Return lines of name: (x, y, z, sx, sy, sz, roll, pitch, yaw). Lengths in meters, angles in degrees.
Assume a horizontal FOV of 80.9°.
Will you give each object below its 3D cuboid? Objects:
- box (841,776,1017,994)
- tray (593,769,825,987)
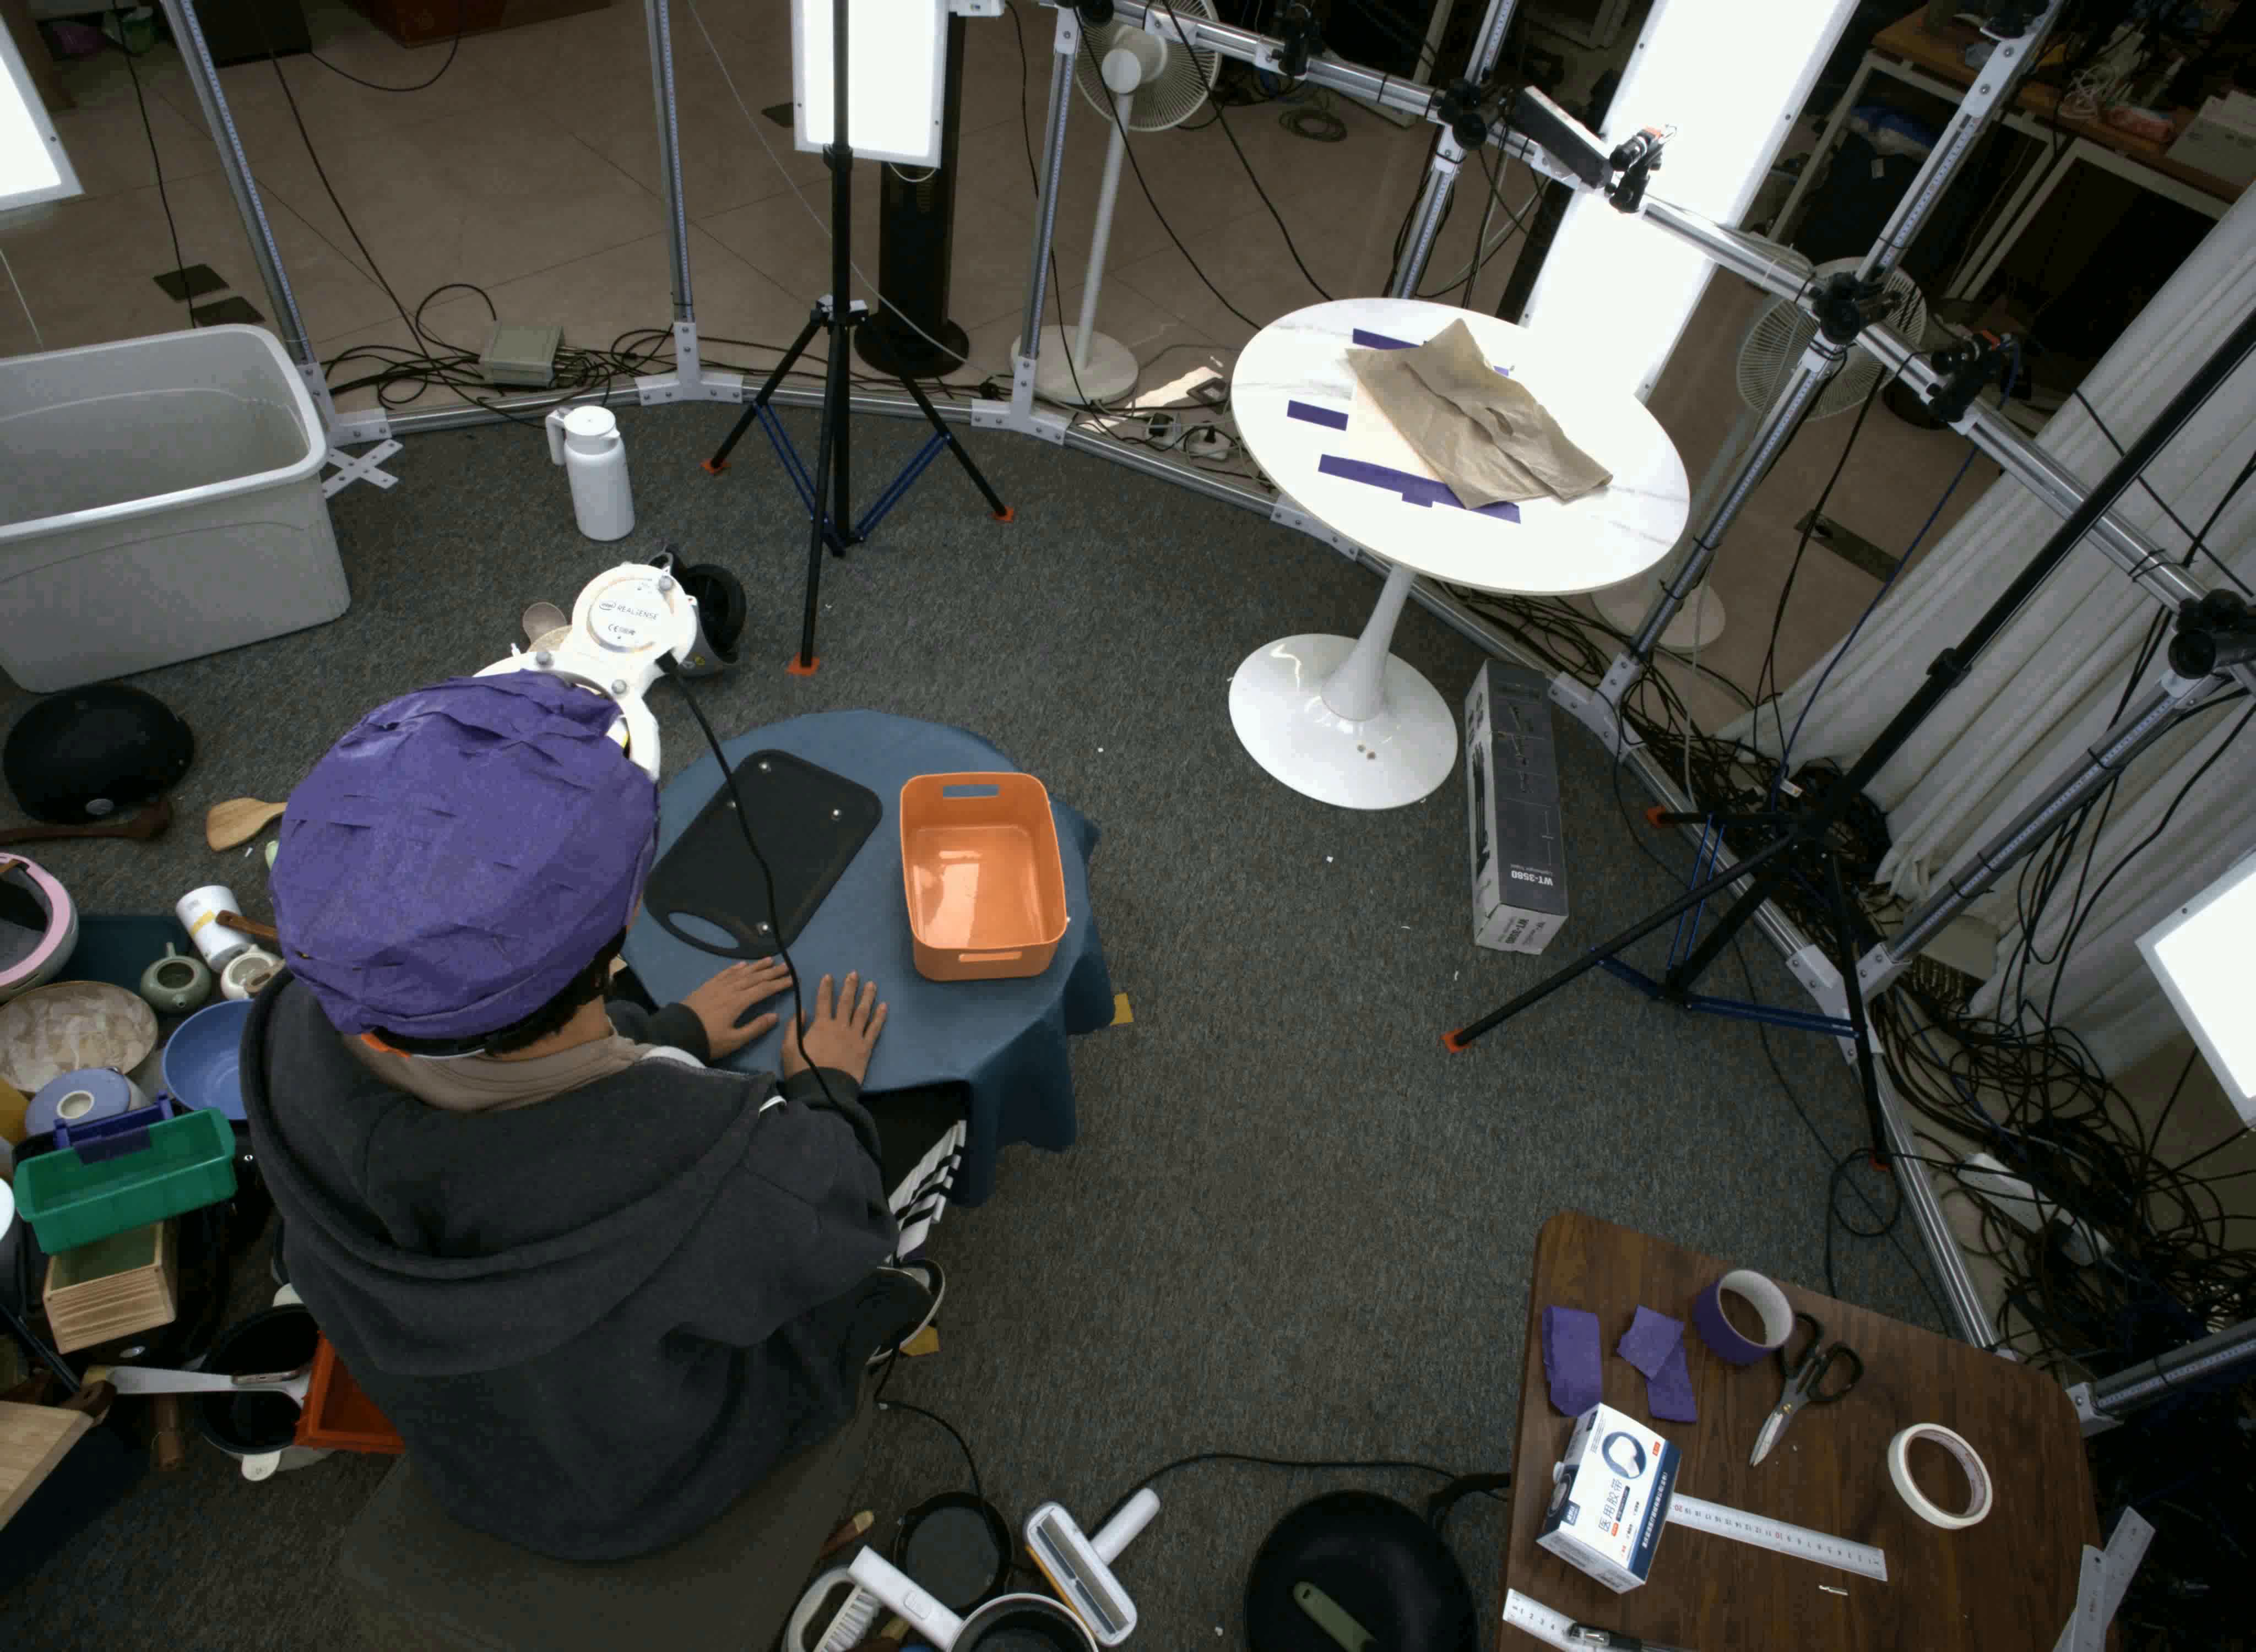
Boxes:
box: (-0.257, 0.076, 1.648, 0.200, 0.104, 0.267, -5, 55, -17)
tray: (-0.538, 0.061, 1.650, 0.209, 0.010, 0.322, 21, 52, 2)
